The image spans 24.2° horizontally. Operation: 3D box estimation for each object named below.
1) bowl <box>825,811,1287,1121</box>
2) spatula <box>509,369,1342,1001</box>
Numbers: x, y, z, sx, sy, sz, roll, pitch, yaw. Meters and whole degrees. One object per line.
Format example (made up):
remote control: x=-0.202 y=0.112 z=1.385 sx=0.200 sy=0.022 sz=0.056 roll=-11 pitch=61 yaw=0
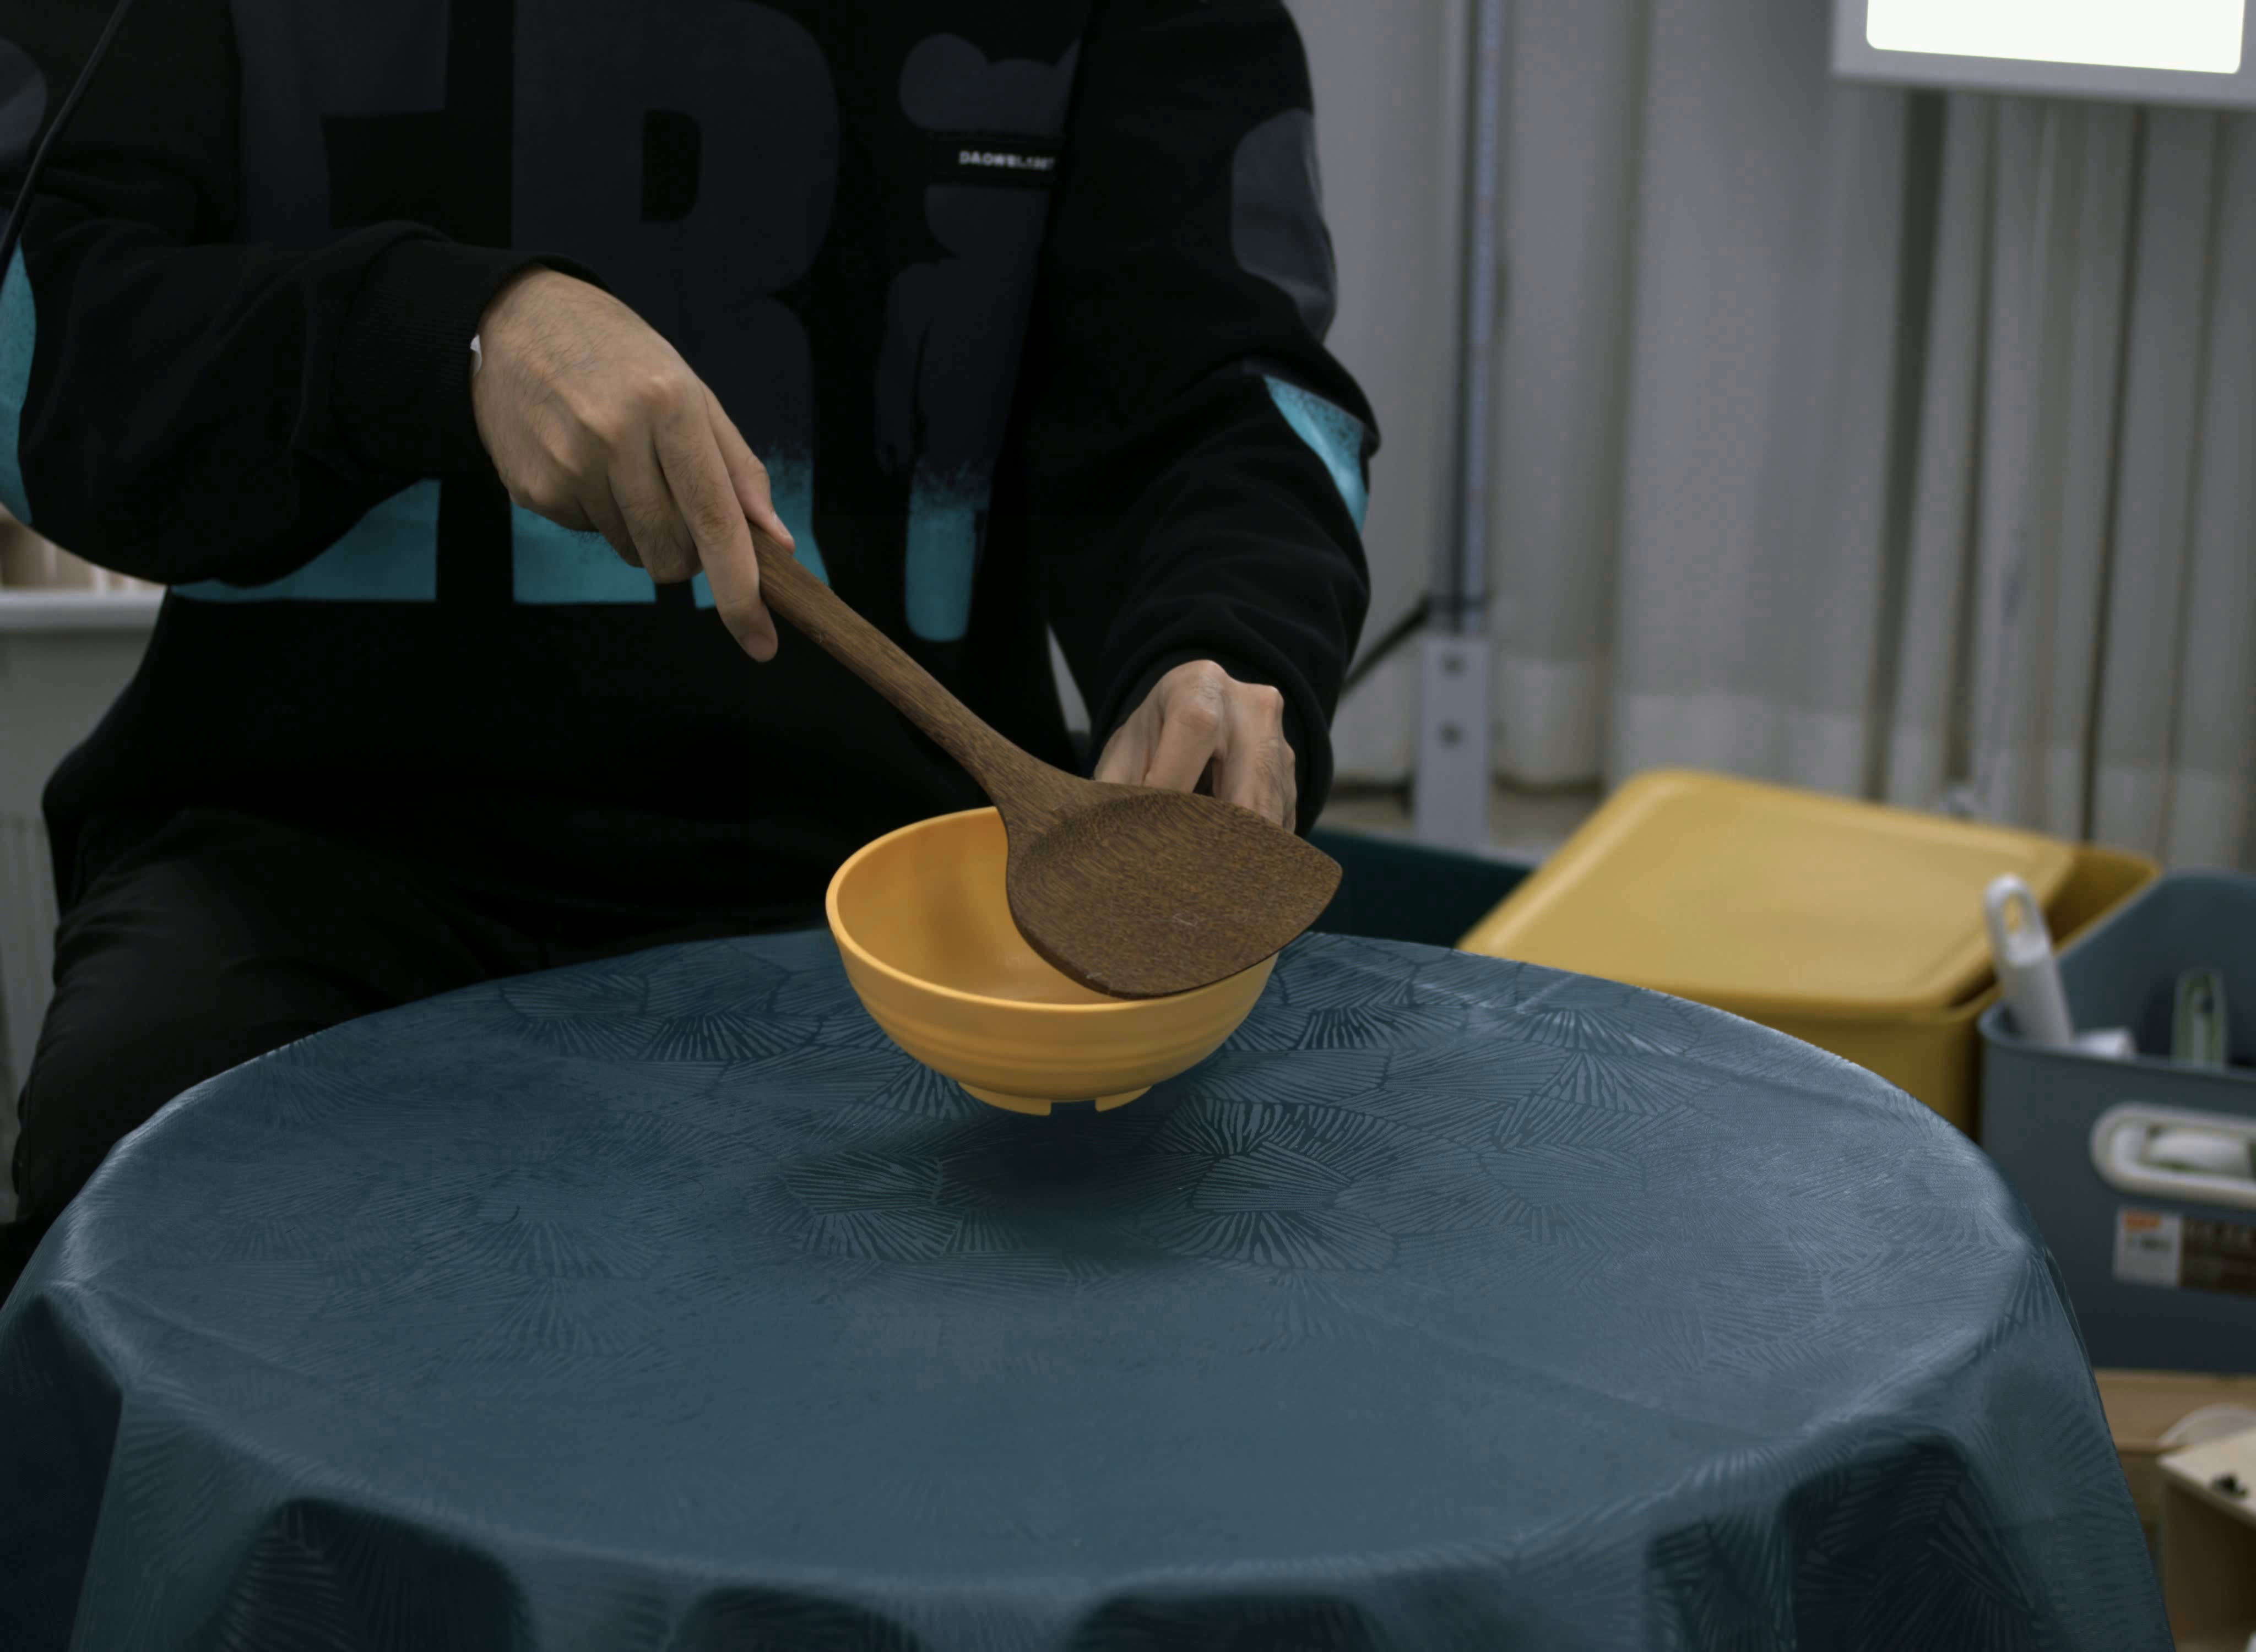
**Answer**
bowl: x=-0.025 y=0.051 z=1.646 sx=0.145 sy=0.060 sz=0.144 roll=5 pitch=24 yaw=-2
spatula: x=-0.084 y=-0.057 z=1.699 sx=0.096 sy=0.016 sz=0.381 roll=-29 pitch=51 yaw=-30
